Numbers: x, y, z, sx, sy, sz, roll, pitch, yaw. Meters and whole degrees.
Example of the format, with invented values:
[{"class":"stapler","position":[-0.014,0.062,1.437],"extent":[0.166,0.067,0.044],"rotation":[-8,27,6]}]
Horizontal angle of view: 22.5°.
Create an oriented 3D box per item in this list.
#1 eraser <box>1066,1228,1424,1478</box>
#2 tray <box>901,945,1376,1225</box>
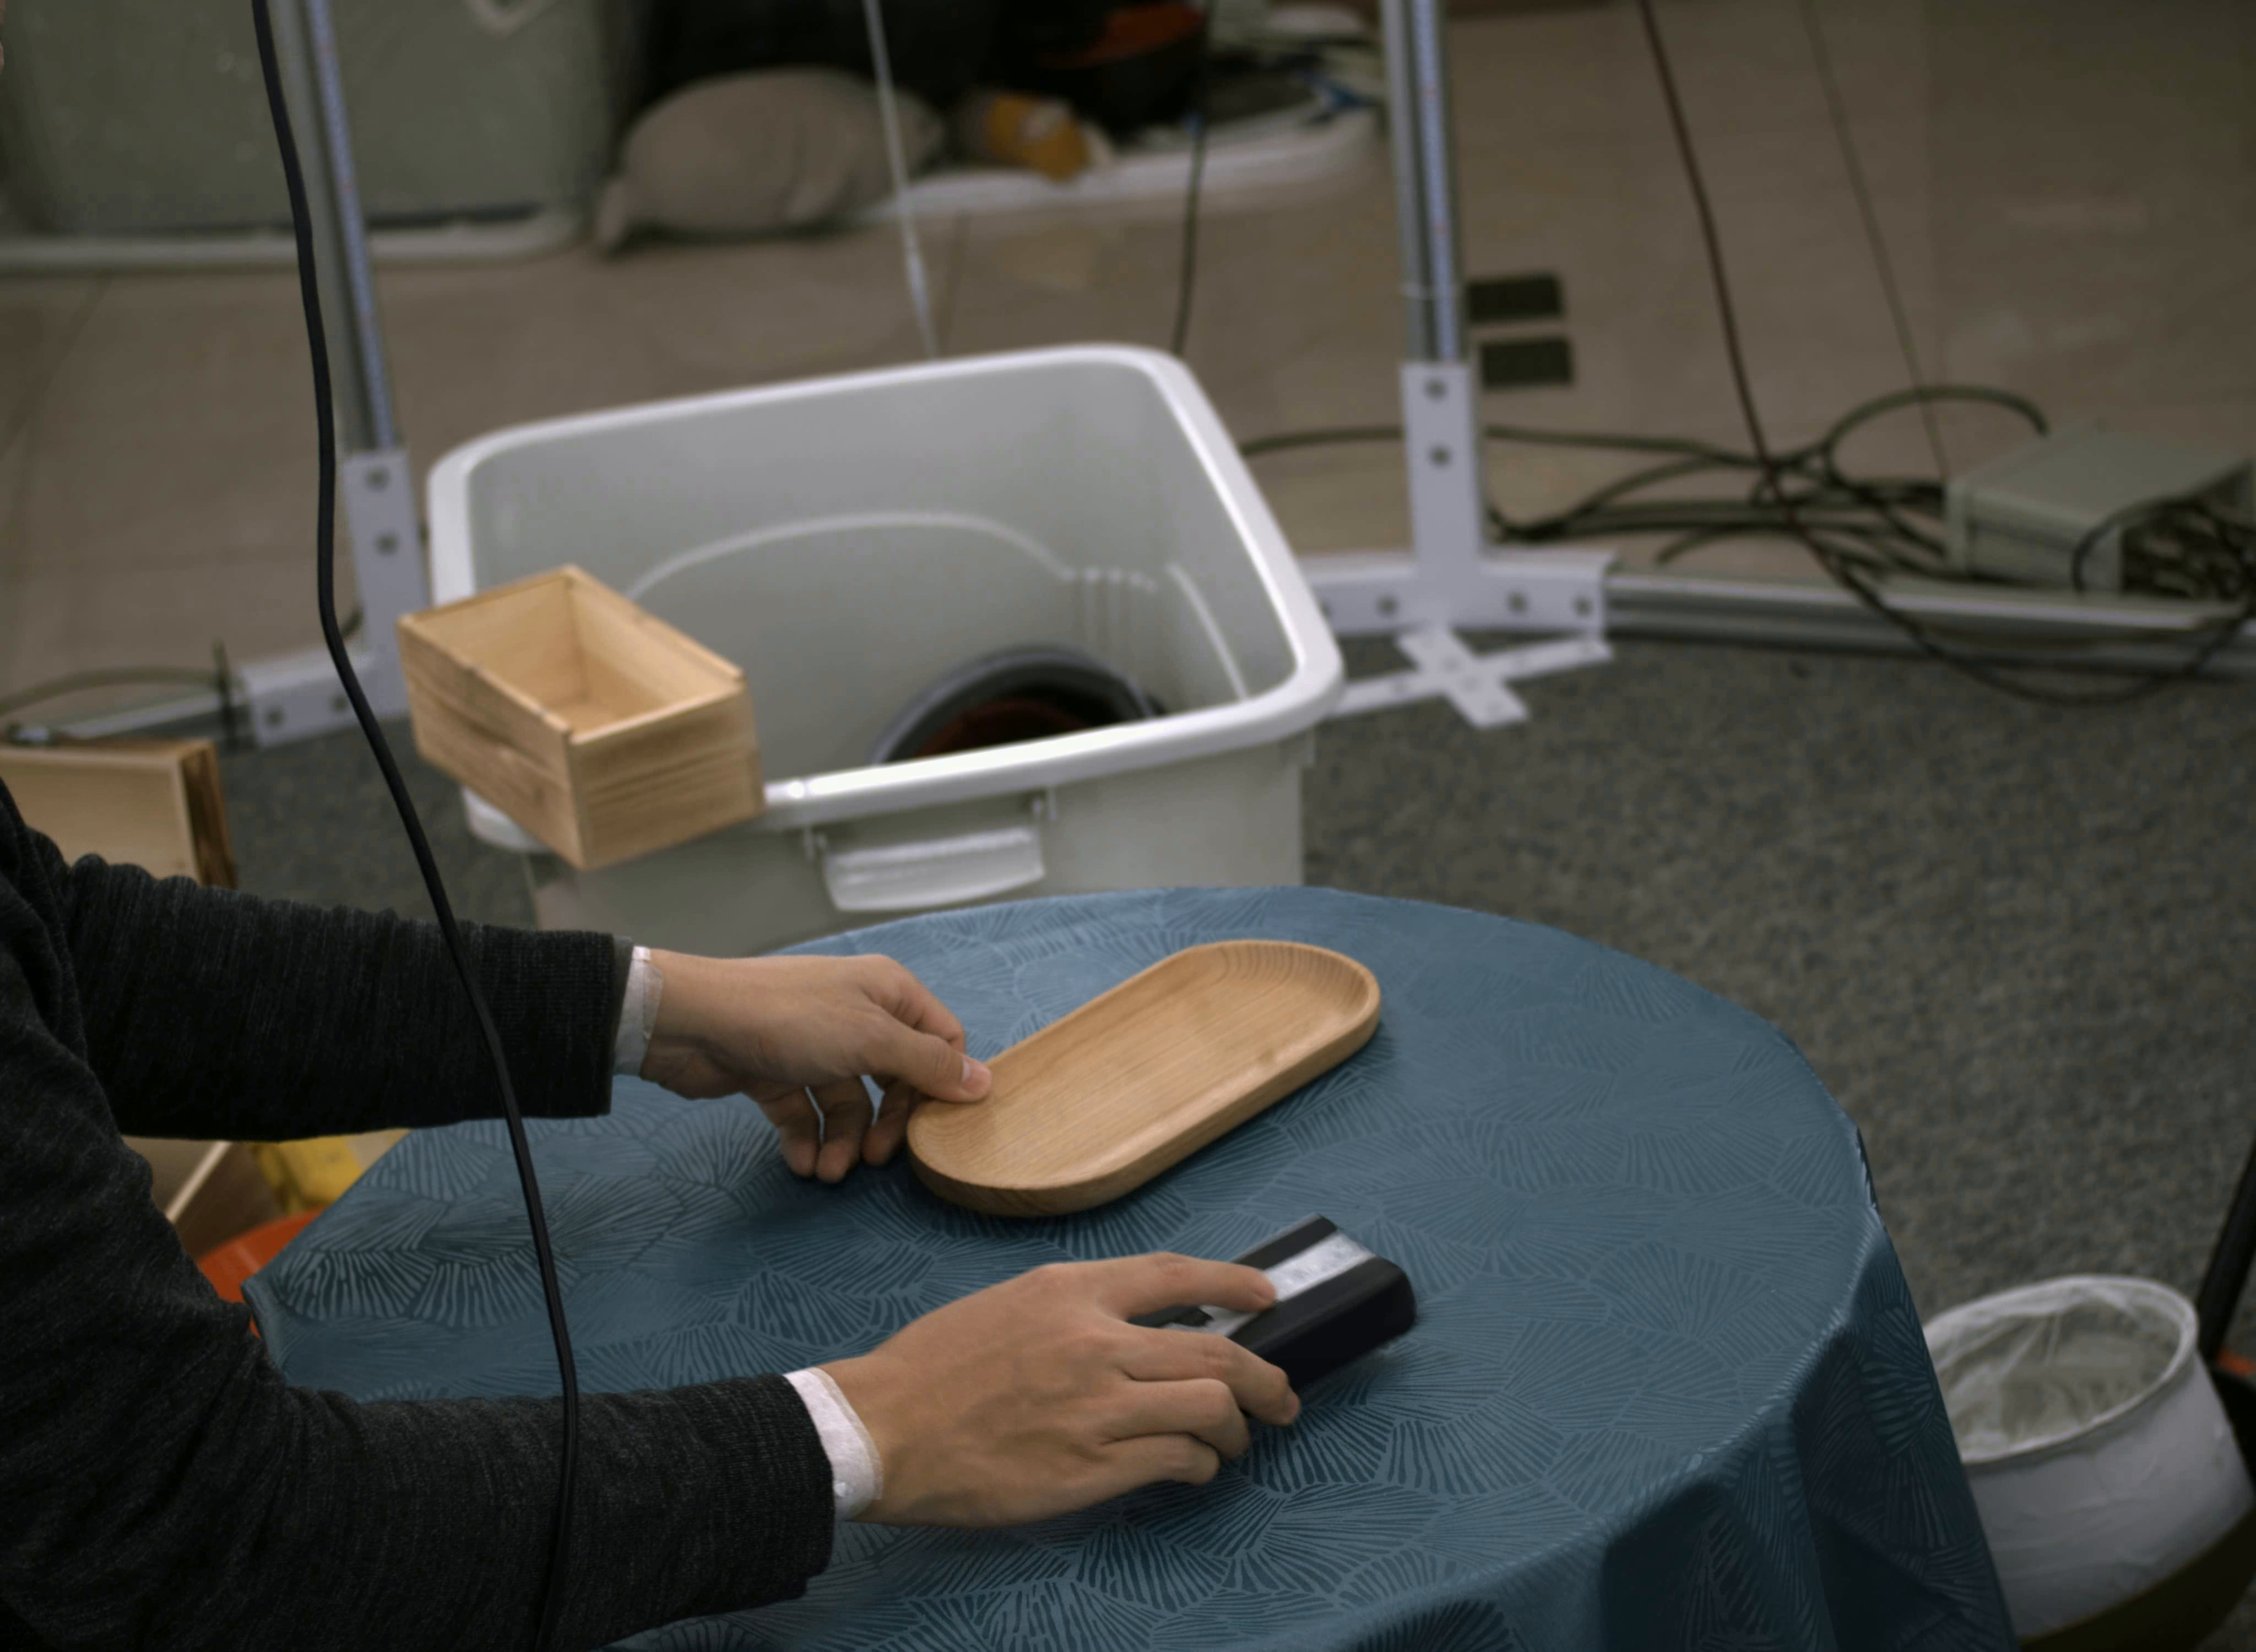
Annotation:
[{"class":"eraser","position":[0.042,0.183,1.985],"extent":[0.124,0.031,0.053],"rotation":[-25,37,-33]},{"class":"tray","position":[0.006,0.099,2.205],"extent":[0.101,0.020,0.229],"rotation":[16,33,37]}]
